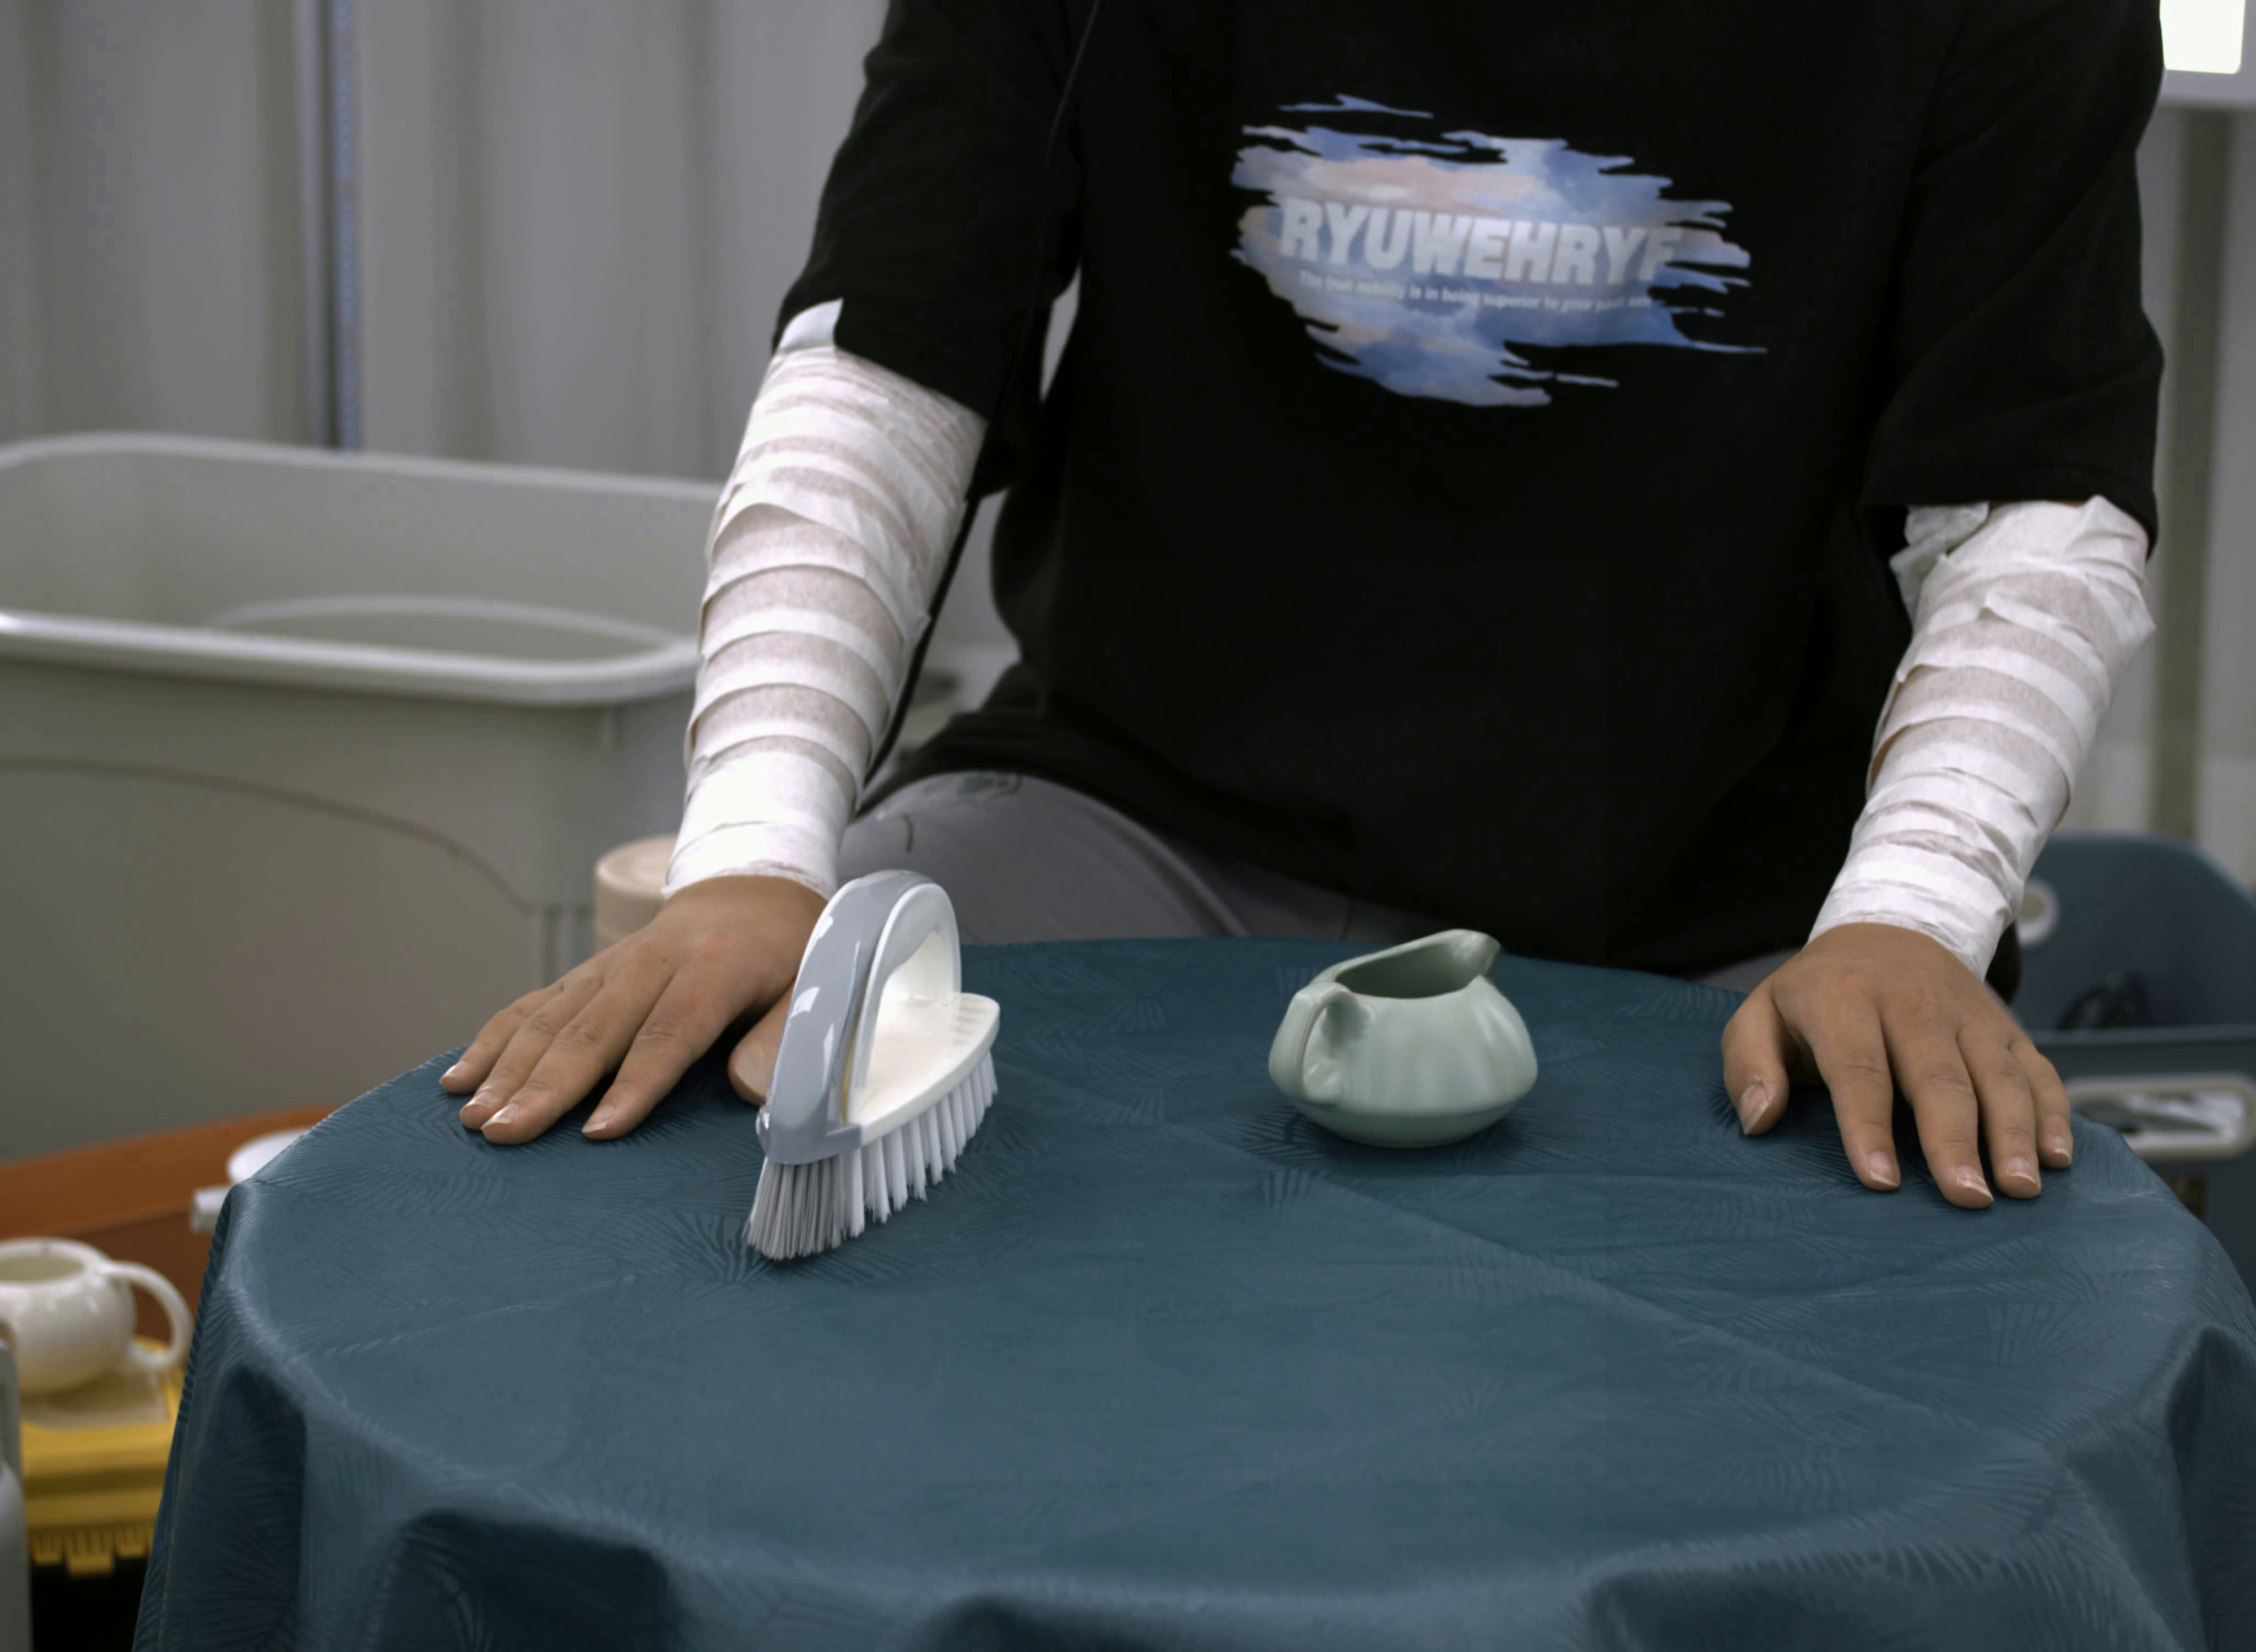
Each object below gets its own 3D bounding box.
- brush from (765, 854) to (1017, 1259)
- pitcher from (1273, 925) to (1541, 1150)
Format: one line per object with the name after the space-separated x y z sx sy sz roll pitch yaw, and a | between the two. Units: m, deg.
-0.081 0.065 1.621 0.061 0.095 0.175 1 17 14 | brush
0.082 0.071 1.672 0.085 0.061 0.108 10 20 33 | pitcher
